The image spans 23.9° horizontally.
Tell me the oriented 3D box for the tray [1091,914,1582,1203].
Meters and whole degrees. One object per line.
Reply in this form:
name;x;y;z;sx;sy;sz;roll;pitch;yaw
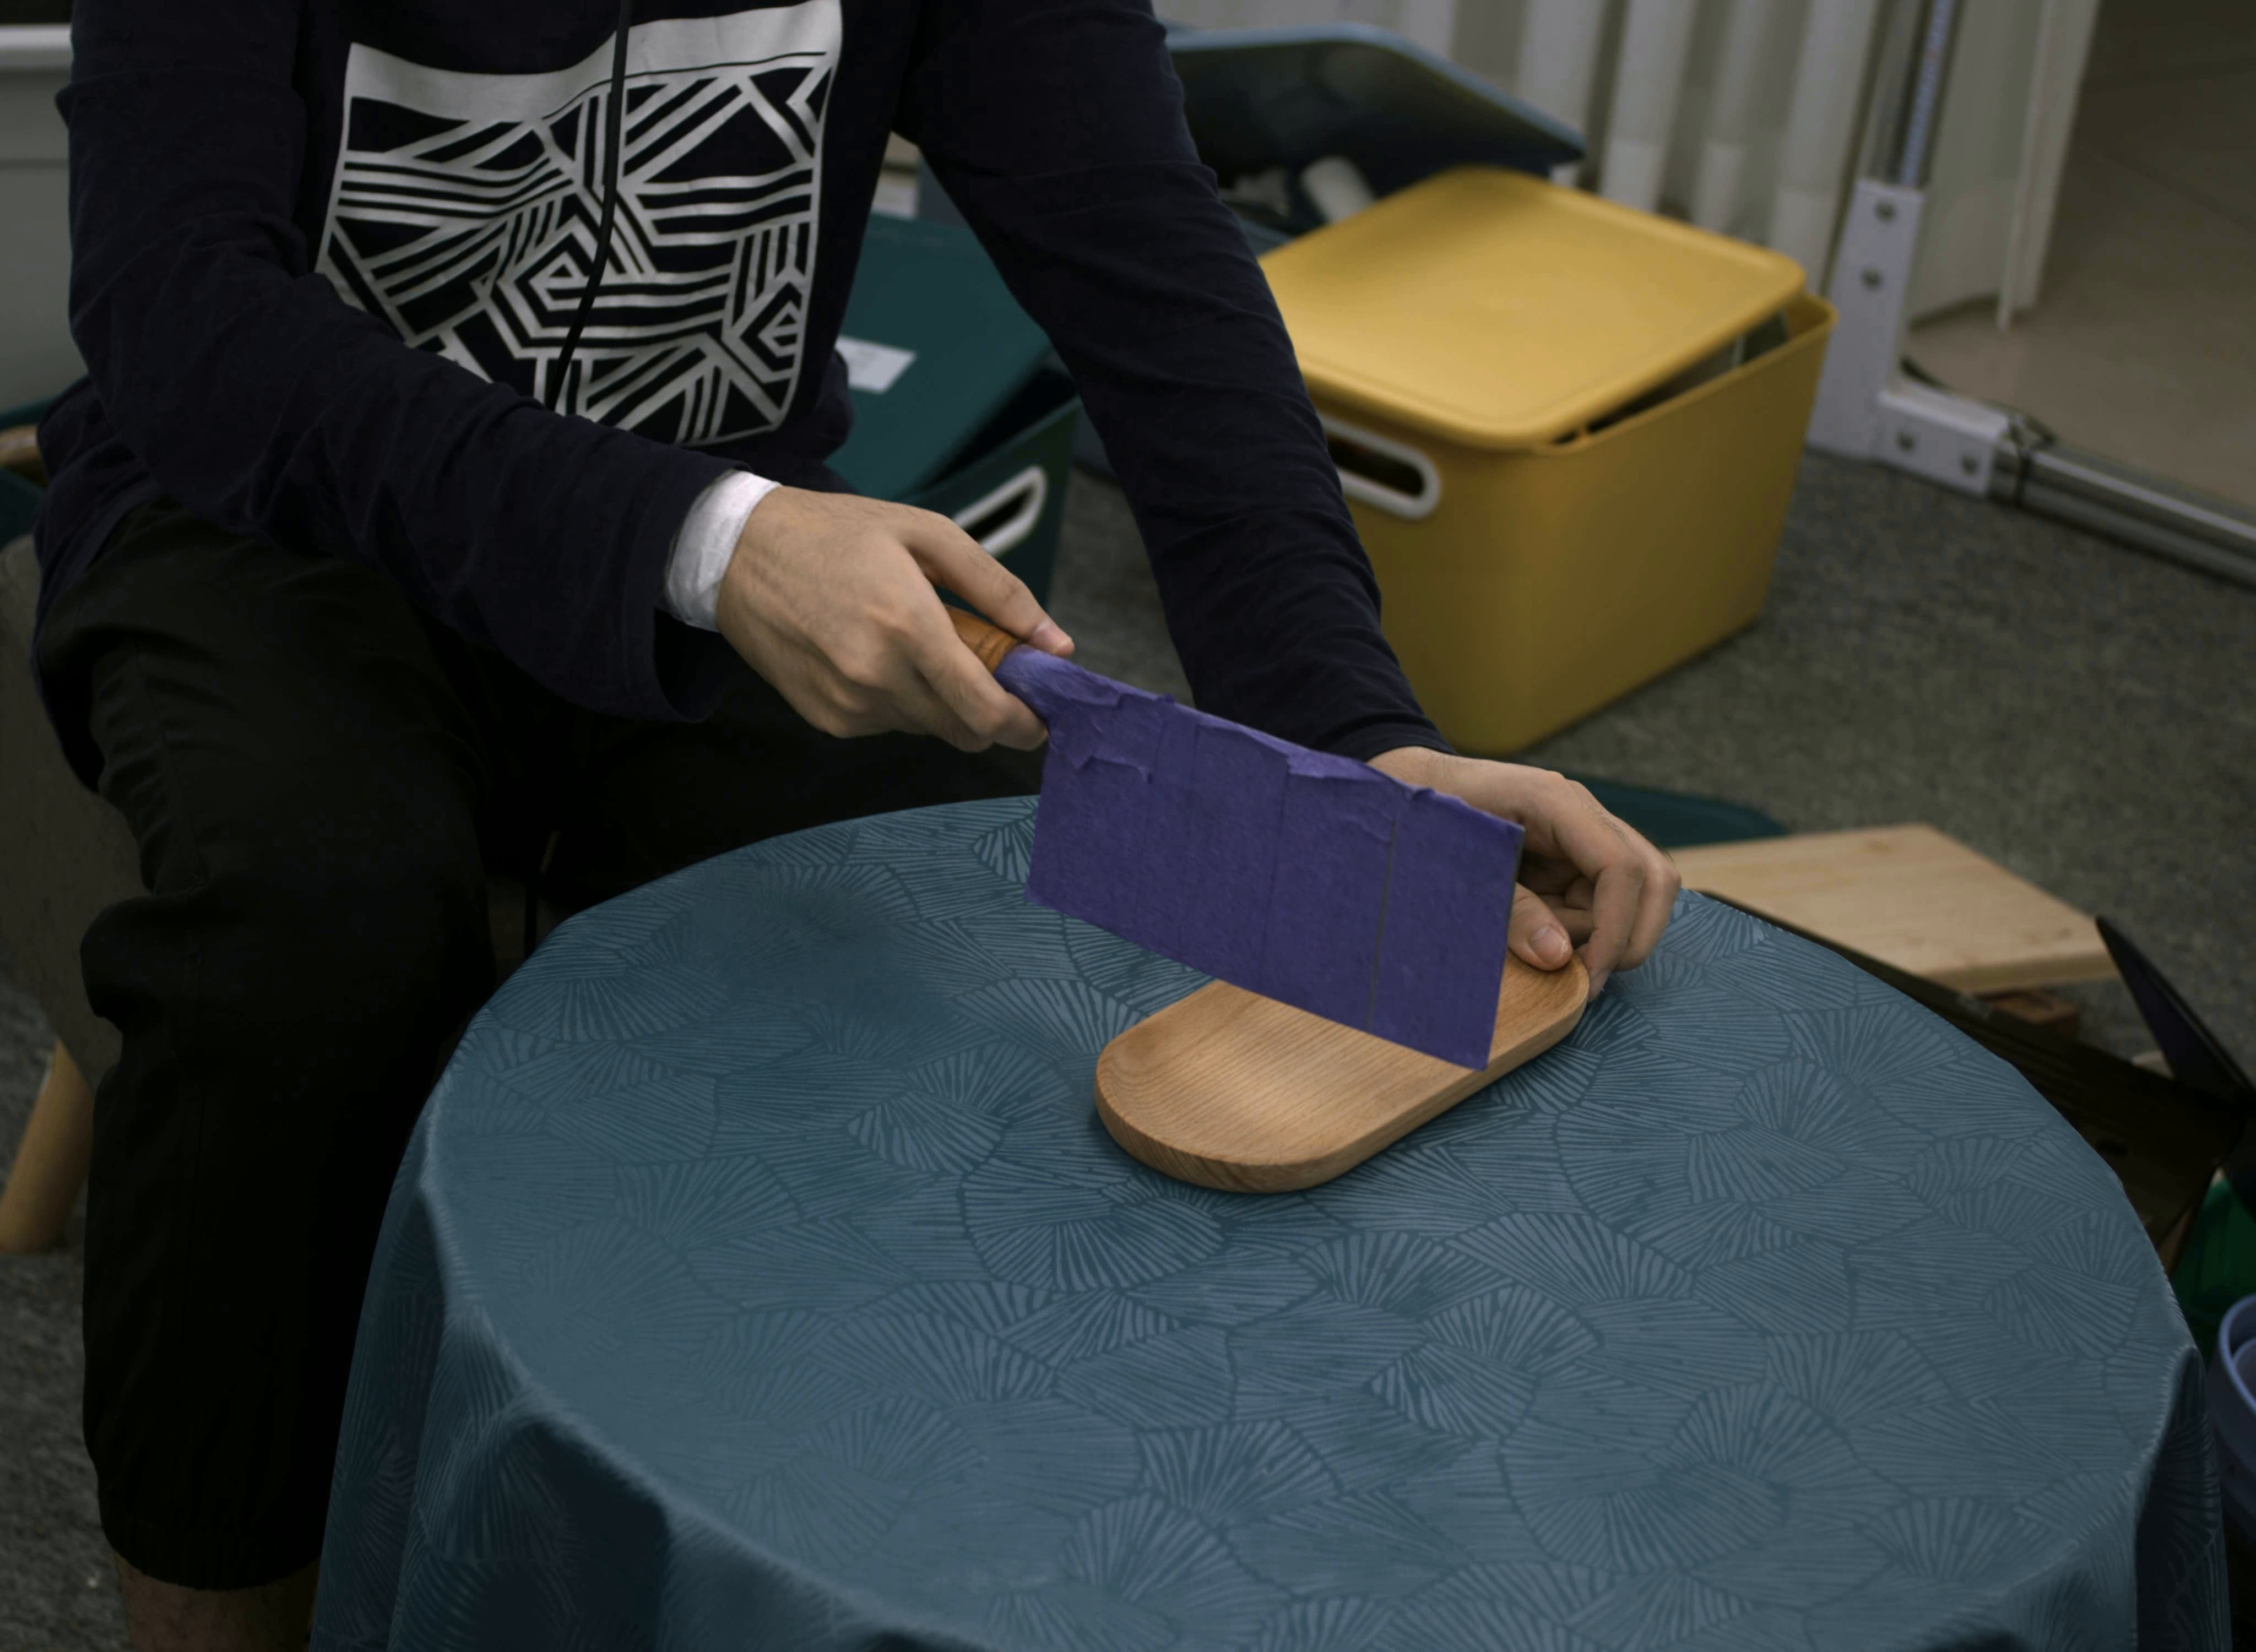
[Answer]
tray;0.076;0.078;1.894;0.102;0.020;0.230;23;33;30

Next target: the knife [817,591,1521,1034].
knife;0.006;-0.004;1.867;0.317;0.104;0.032;20;17;39
